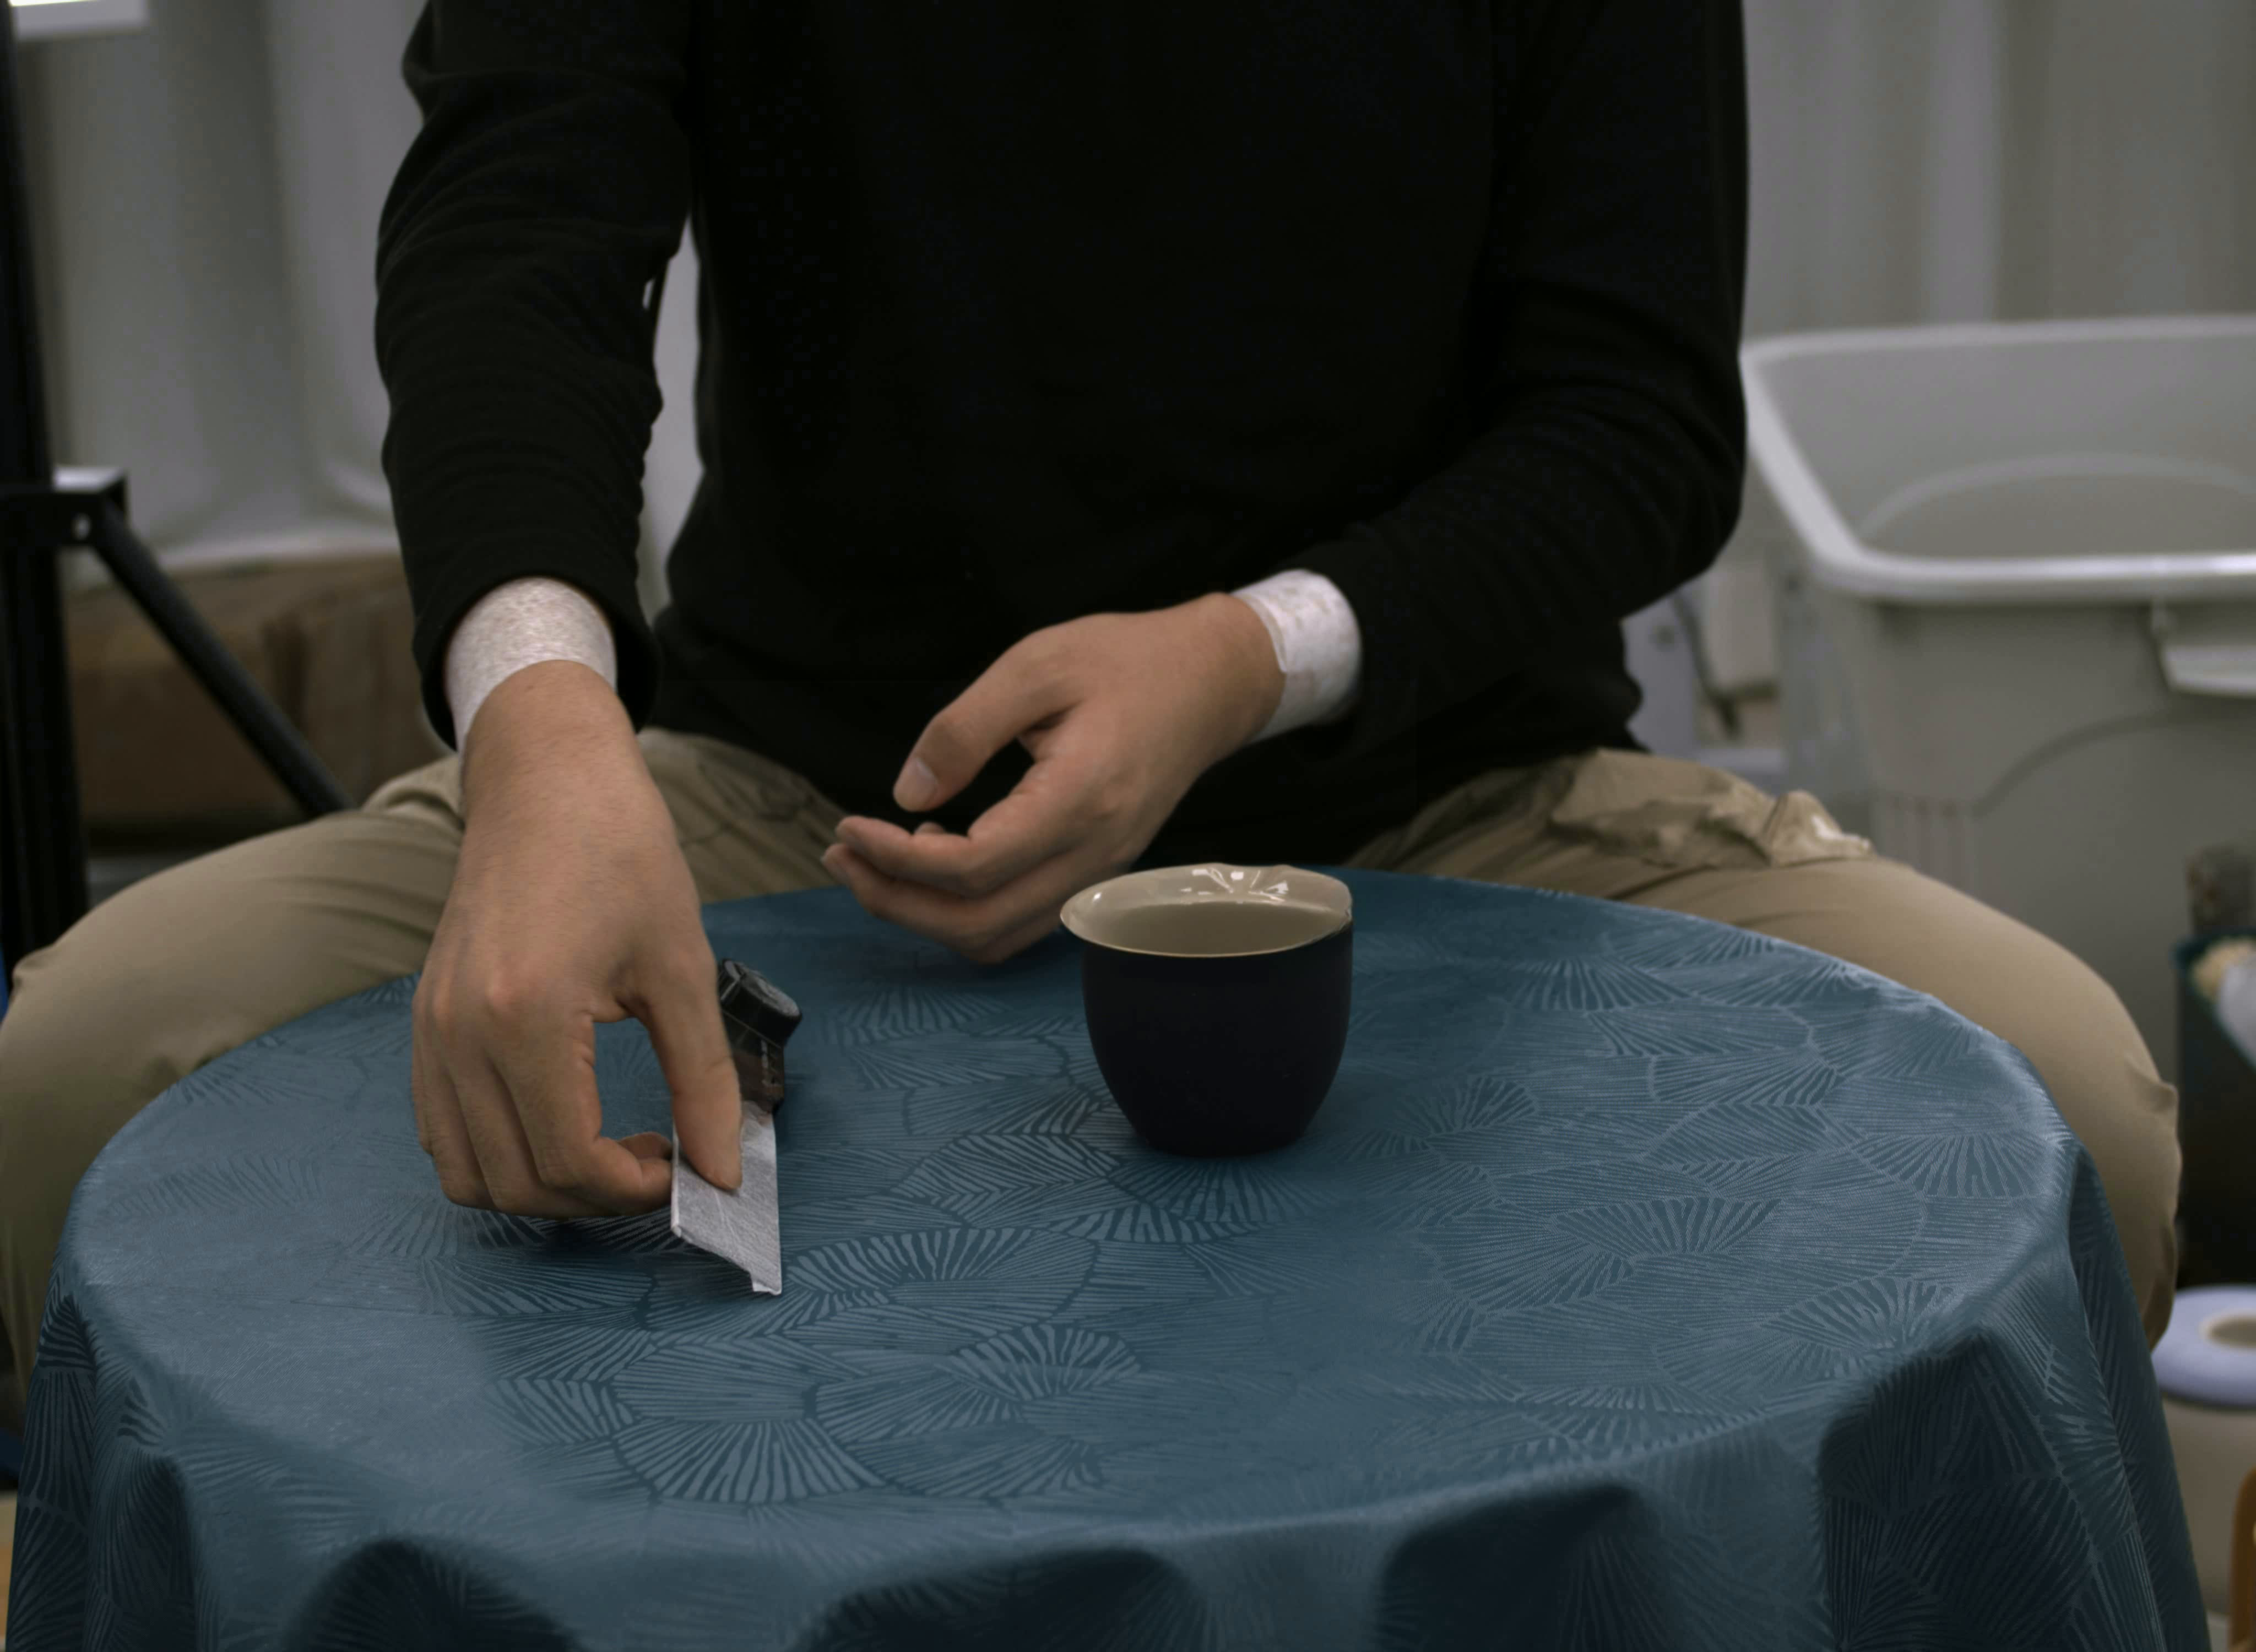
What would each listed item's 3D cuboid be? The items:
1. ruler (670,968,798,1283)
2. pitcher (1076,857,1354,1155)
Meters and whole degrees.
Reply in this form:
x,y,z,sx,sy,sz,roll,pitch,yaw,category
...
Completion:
x,y,z,sx,sy,sz,roll,pitch,yaw,category
-0.115,0.085,1.586,0.038,0.024,0.219,26,11,-10,ruler
0.029,0.056,1.601,0.084,0.071,0.095,1,16,16,pitcher
